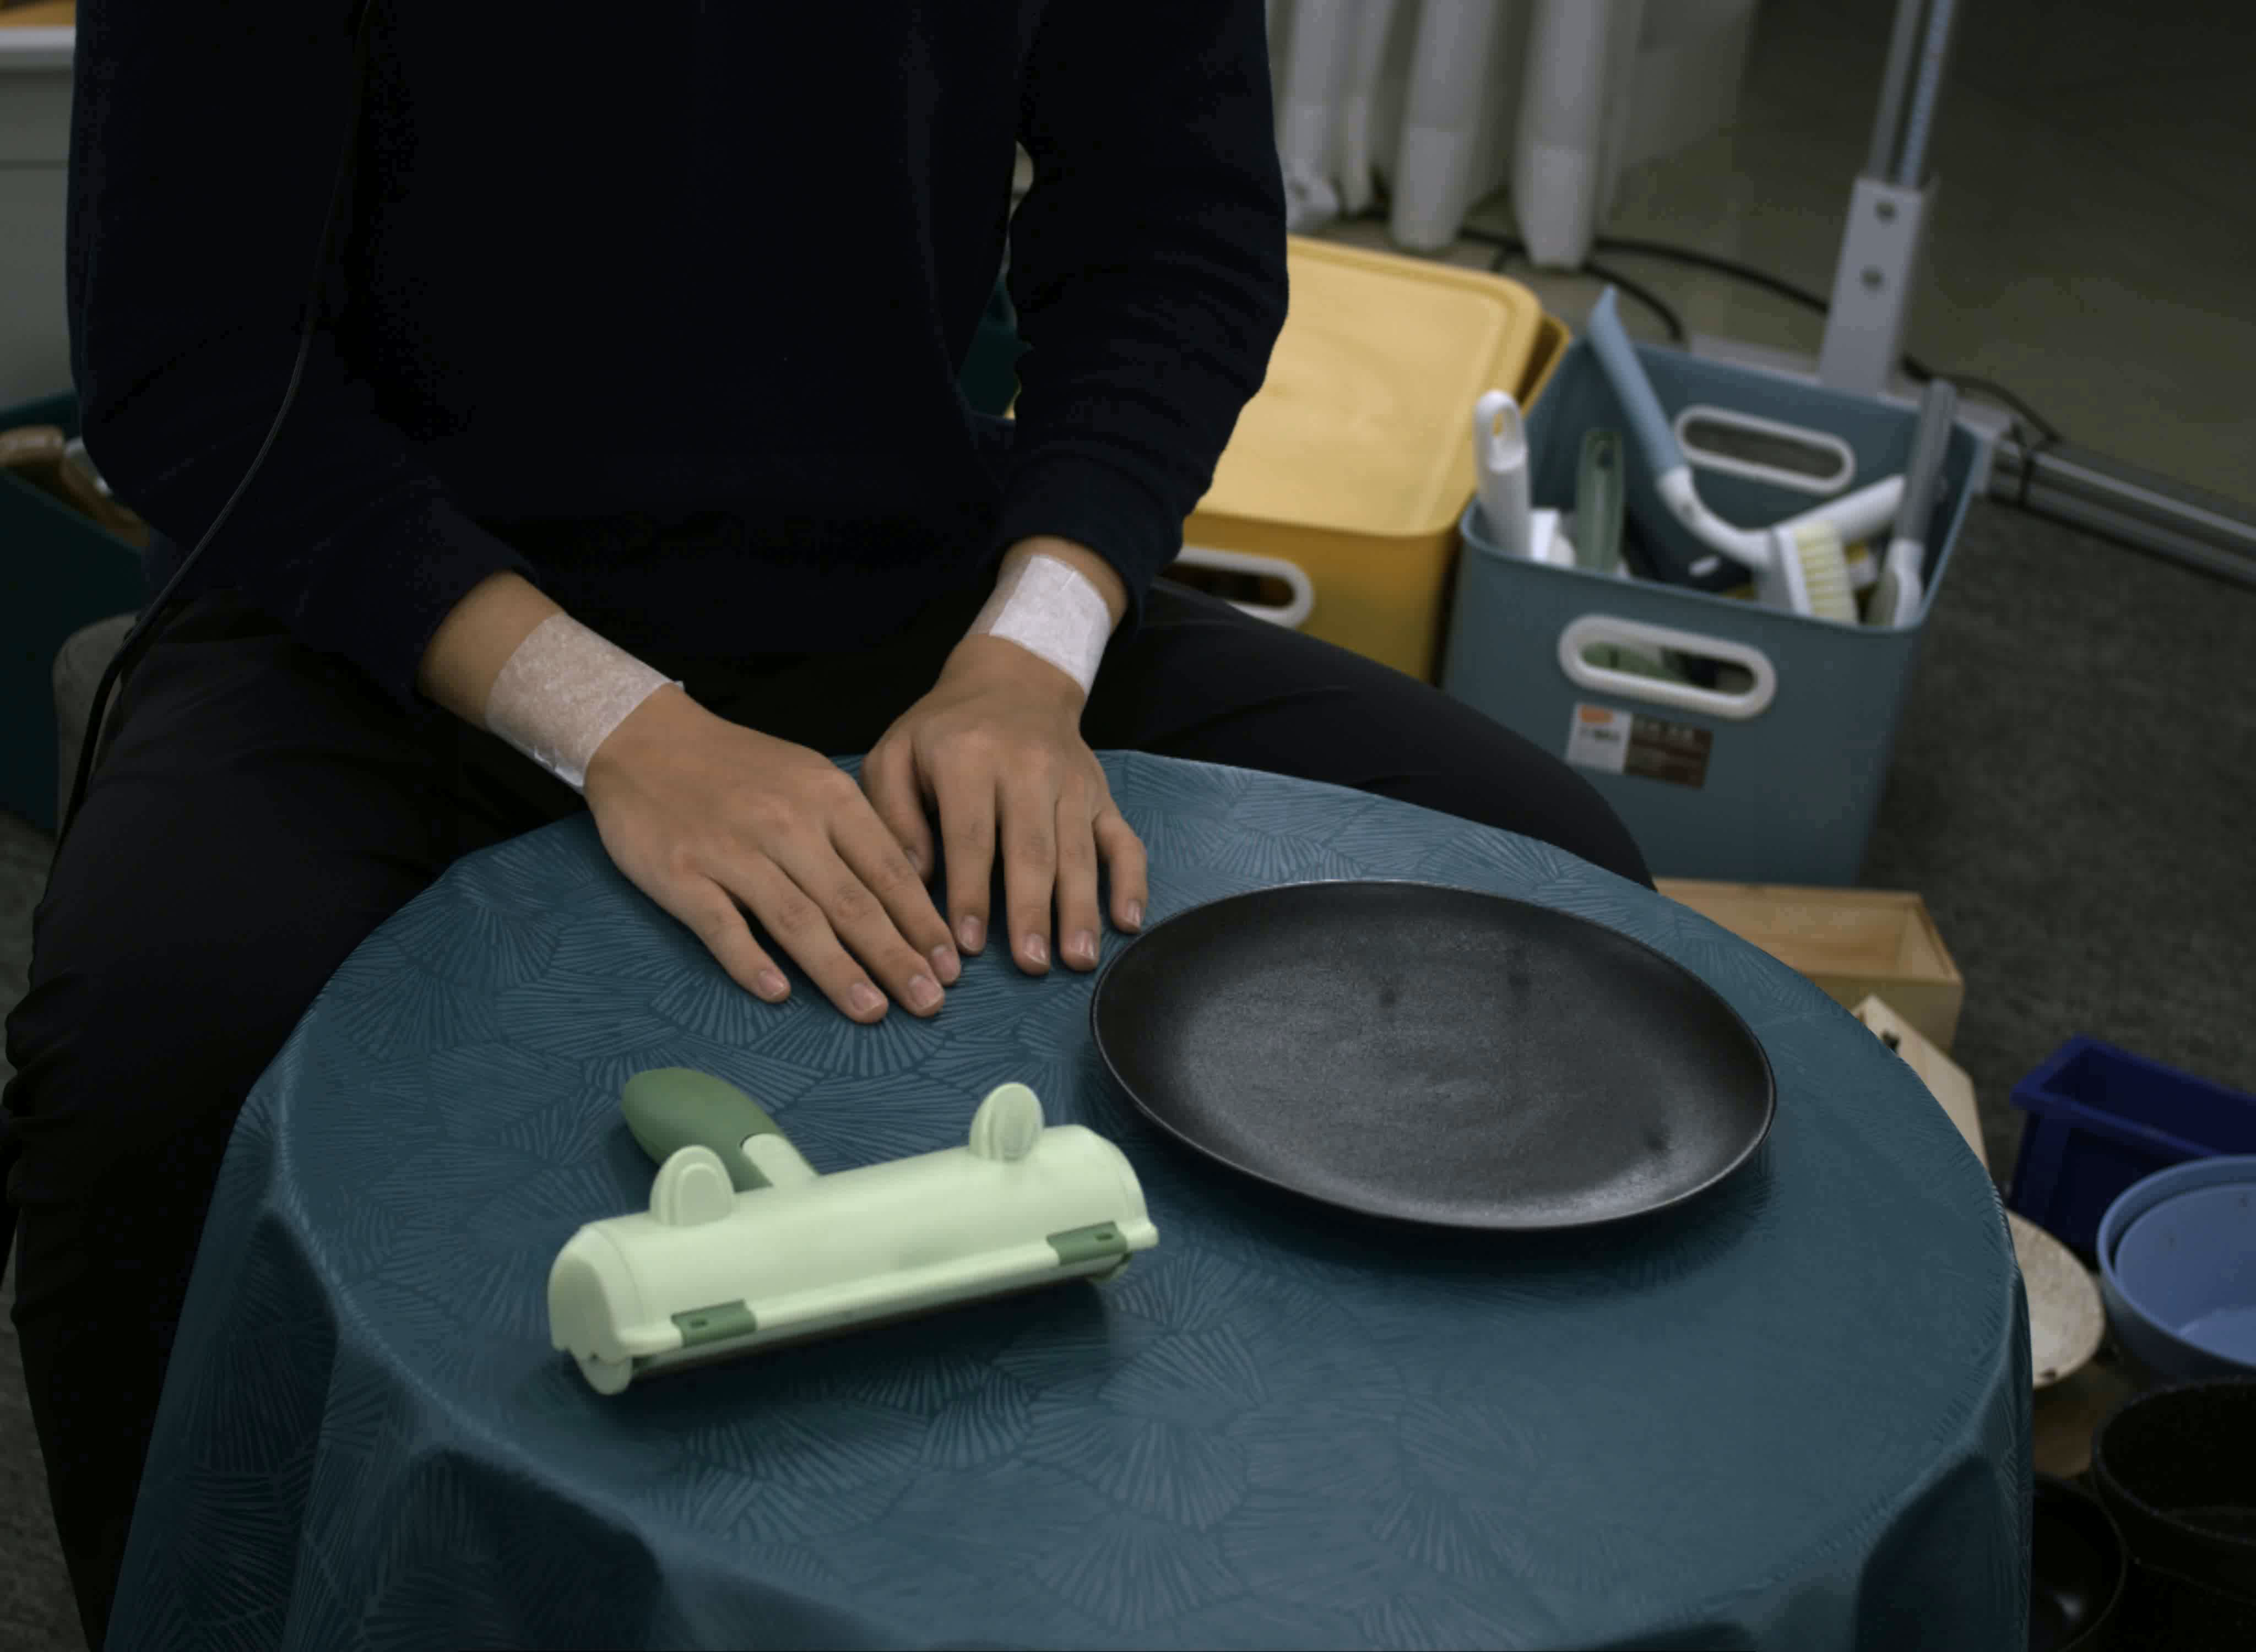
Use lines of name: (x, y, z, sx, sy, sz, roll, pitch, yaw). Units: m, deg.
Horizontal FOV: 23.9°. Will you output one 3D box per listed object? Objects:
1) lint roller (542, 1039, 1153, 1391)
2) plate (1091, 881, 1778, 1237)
lint roller: (-0.116, 0.100, 1.728, 0.197, 0.082, 0.185, -10, 37, -31)
plate: (0.107, 0.087, 1.873, 0.243, 0.023, 0.246, 5, 27, -3)
